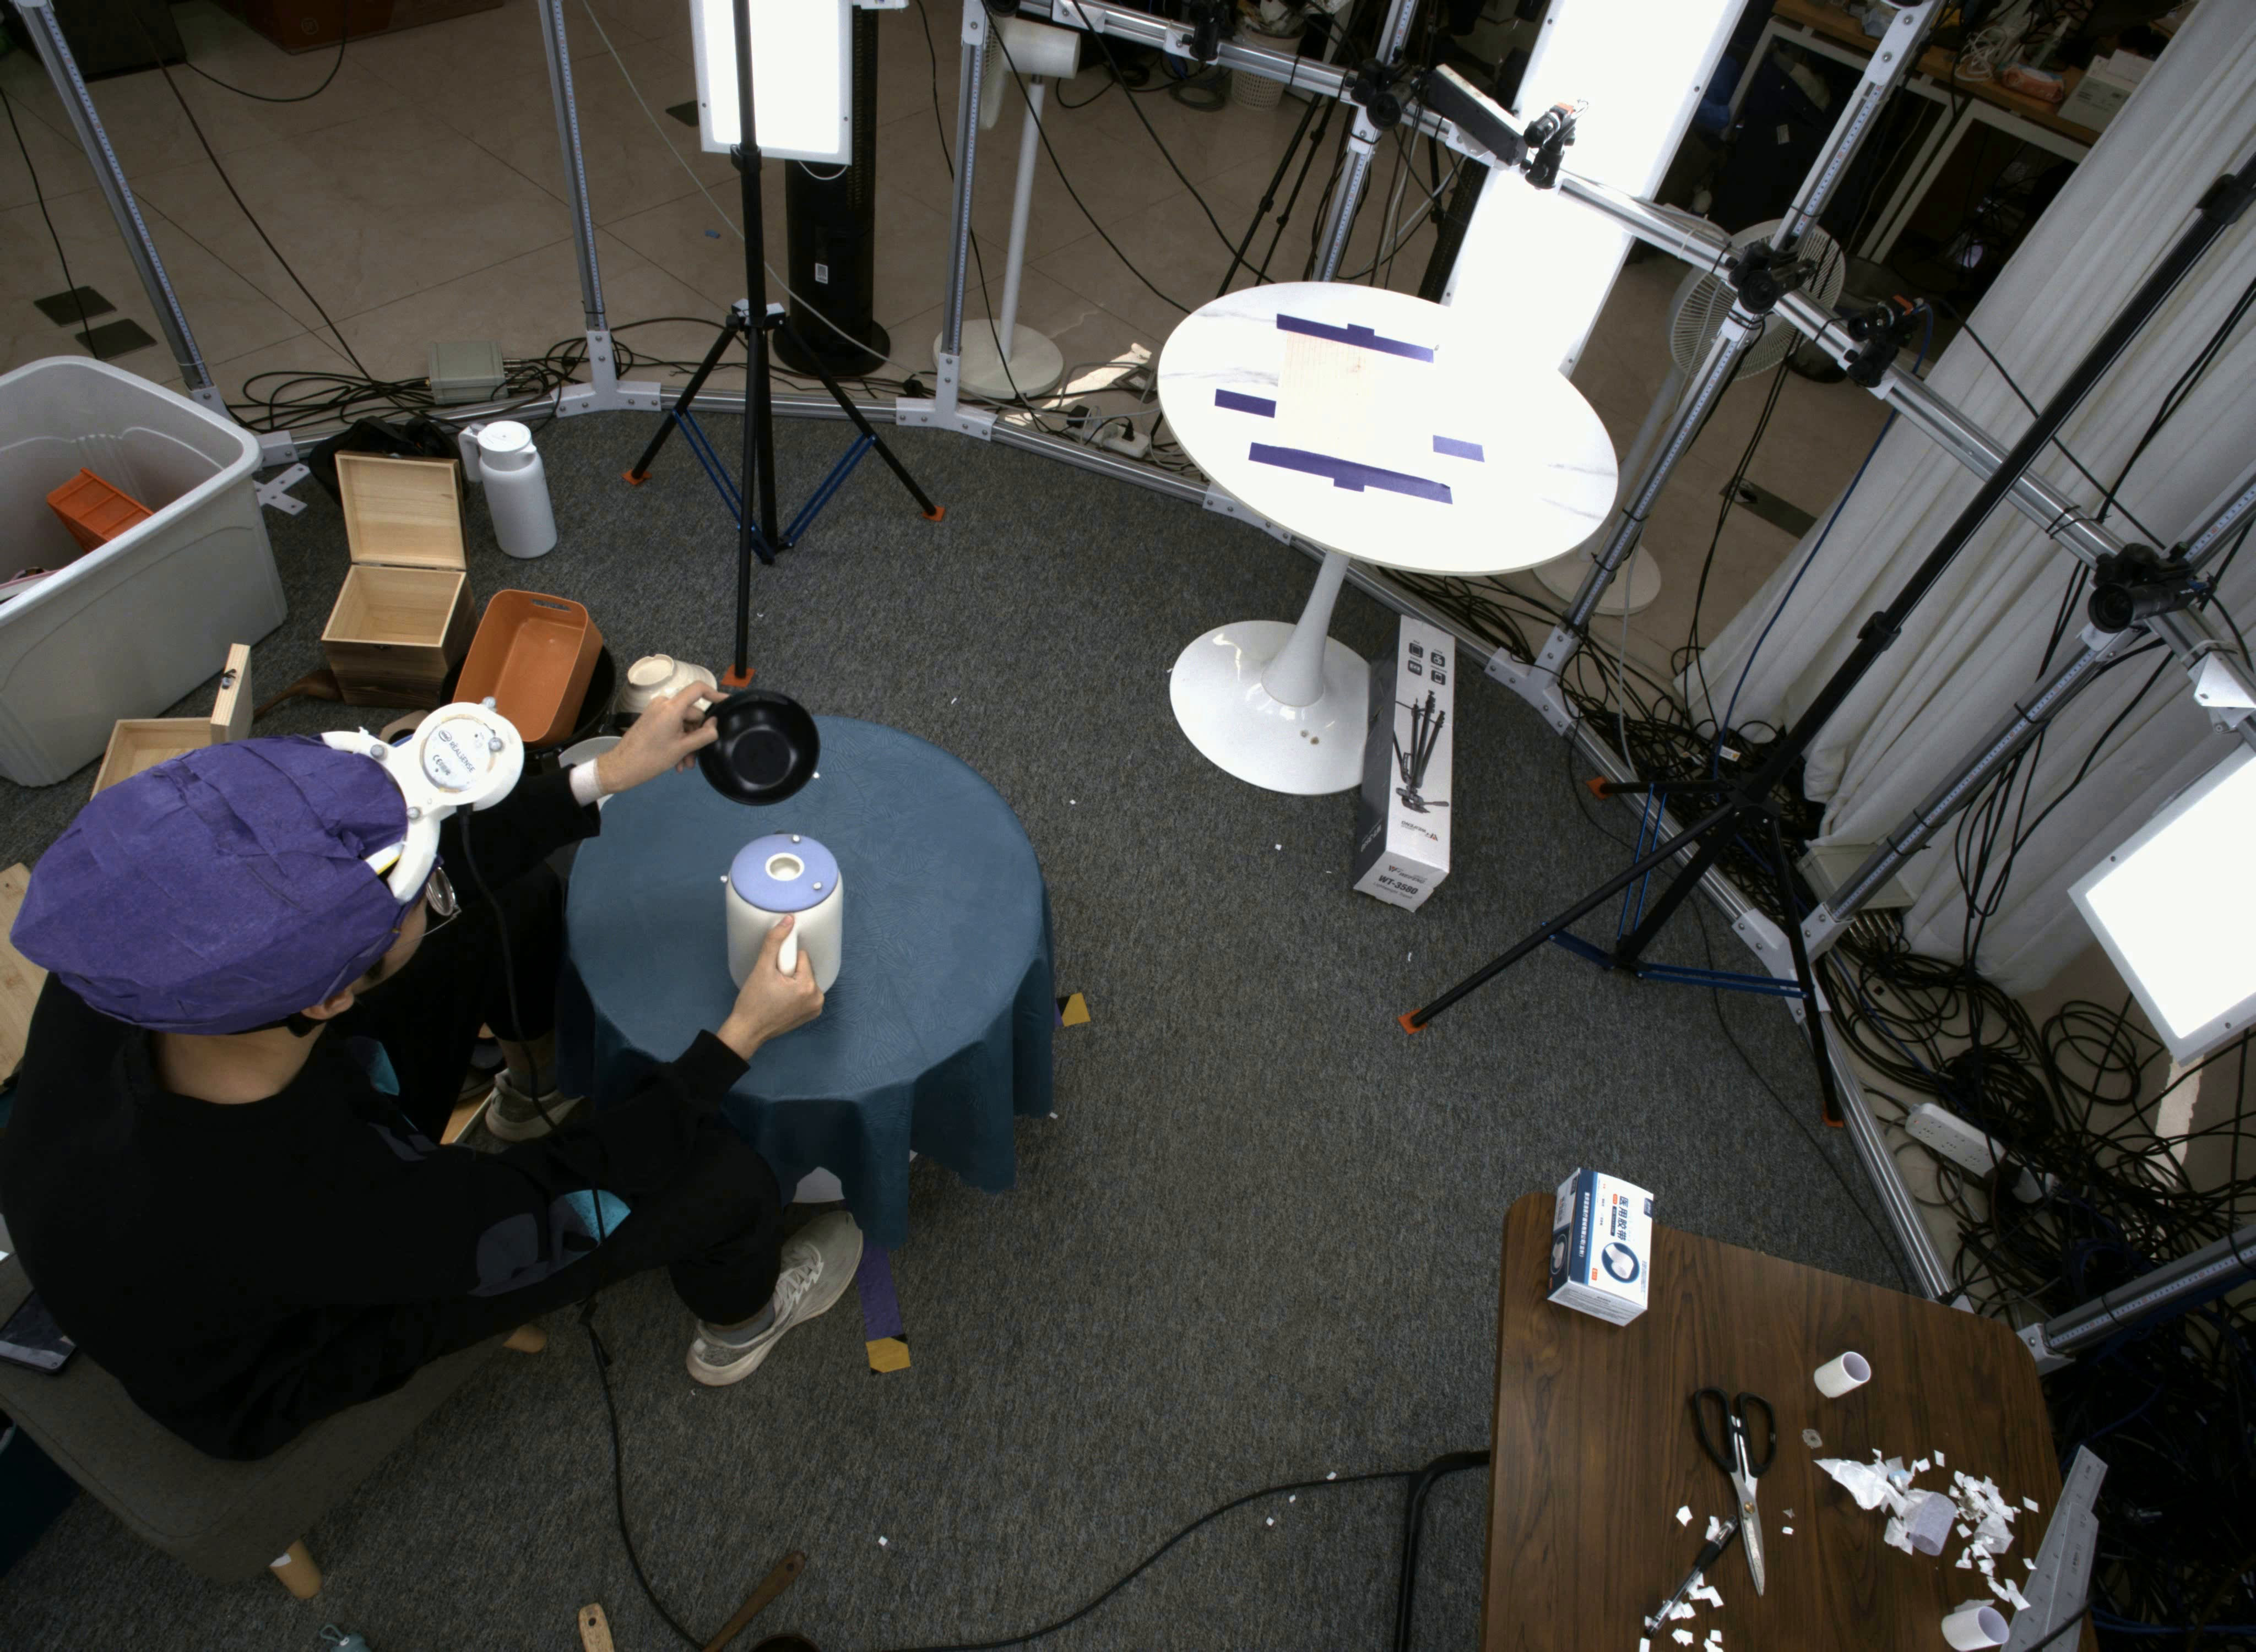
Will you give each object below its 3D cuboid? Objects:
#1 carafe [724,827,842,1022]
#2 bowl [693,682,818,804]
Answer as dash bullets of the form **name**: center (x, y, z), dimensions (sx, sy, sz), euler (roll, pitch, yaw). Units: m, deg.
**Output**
- **carafe**: center (-0.393, 0.124, 1.486), dimensions (0.132, 0.187, 0.186), euler (-3, 49, -16)
- **bowl**: center (-0.424, -0.091, 1.480), dimensions (0.140, 0.049, 0.140), euler (2, 80, -11)
